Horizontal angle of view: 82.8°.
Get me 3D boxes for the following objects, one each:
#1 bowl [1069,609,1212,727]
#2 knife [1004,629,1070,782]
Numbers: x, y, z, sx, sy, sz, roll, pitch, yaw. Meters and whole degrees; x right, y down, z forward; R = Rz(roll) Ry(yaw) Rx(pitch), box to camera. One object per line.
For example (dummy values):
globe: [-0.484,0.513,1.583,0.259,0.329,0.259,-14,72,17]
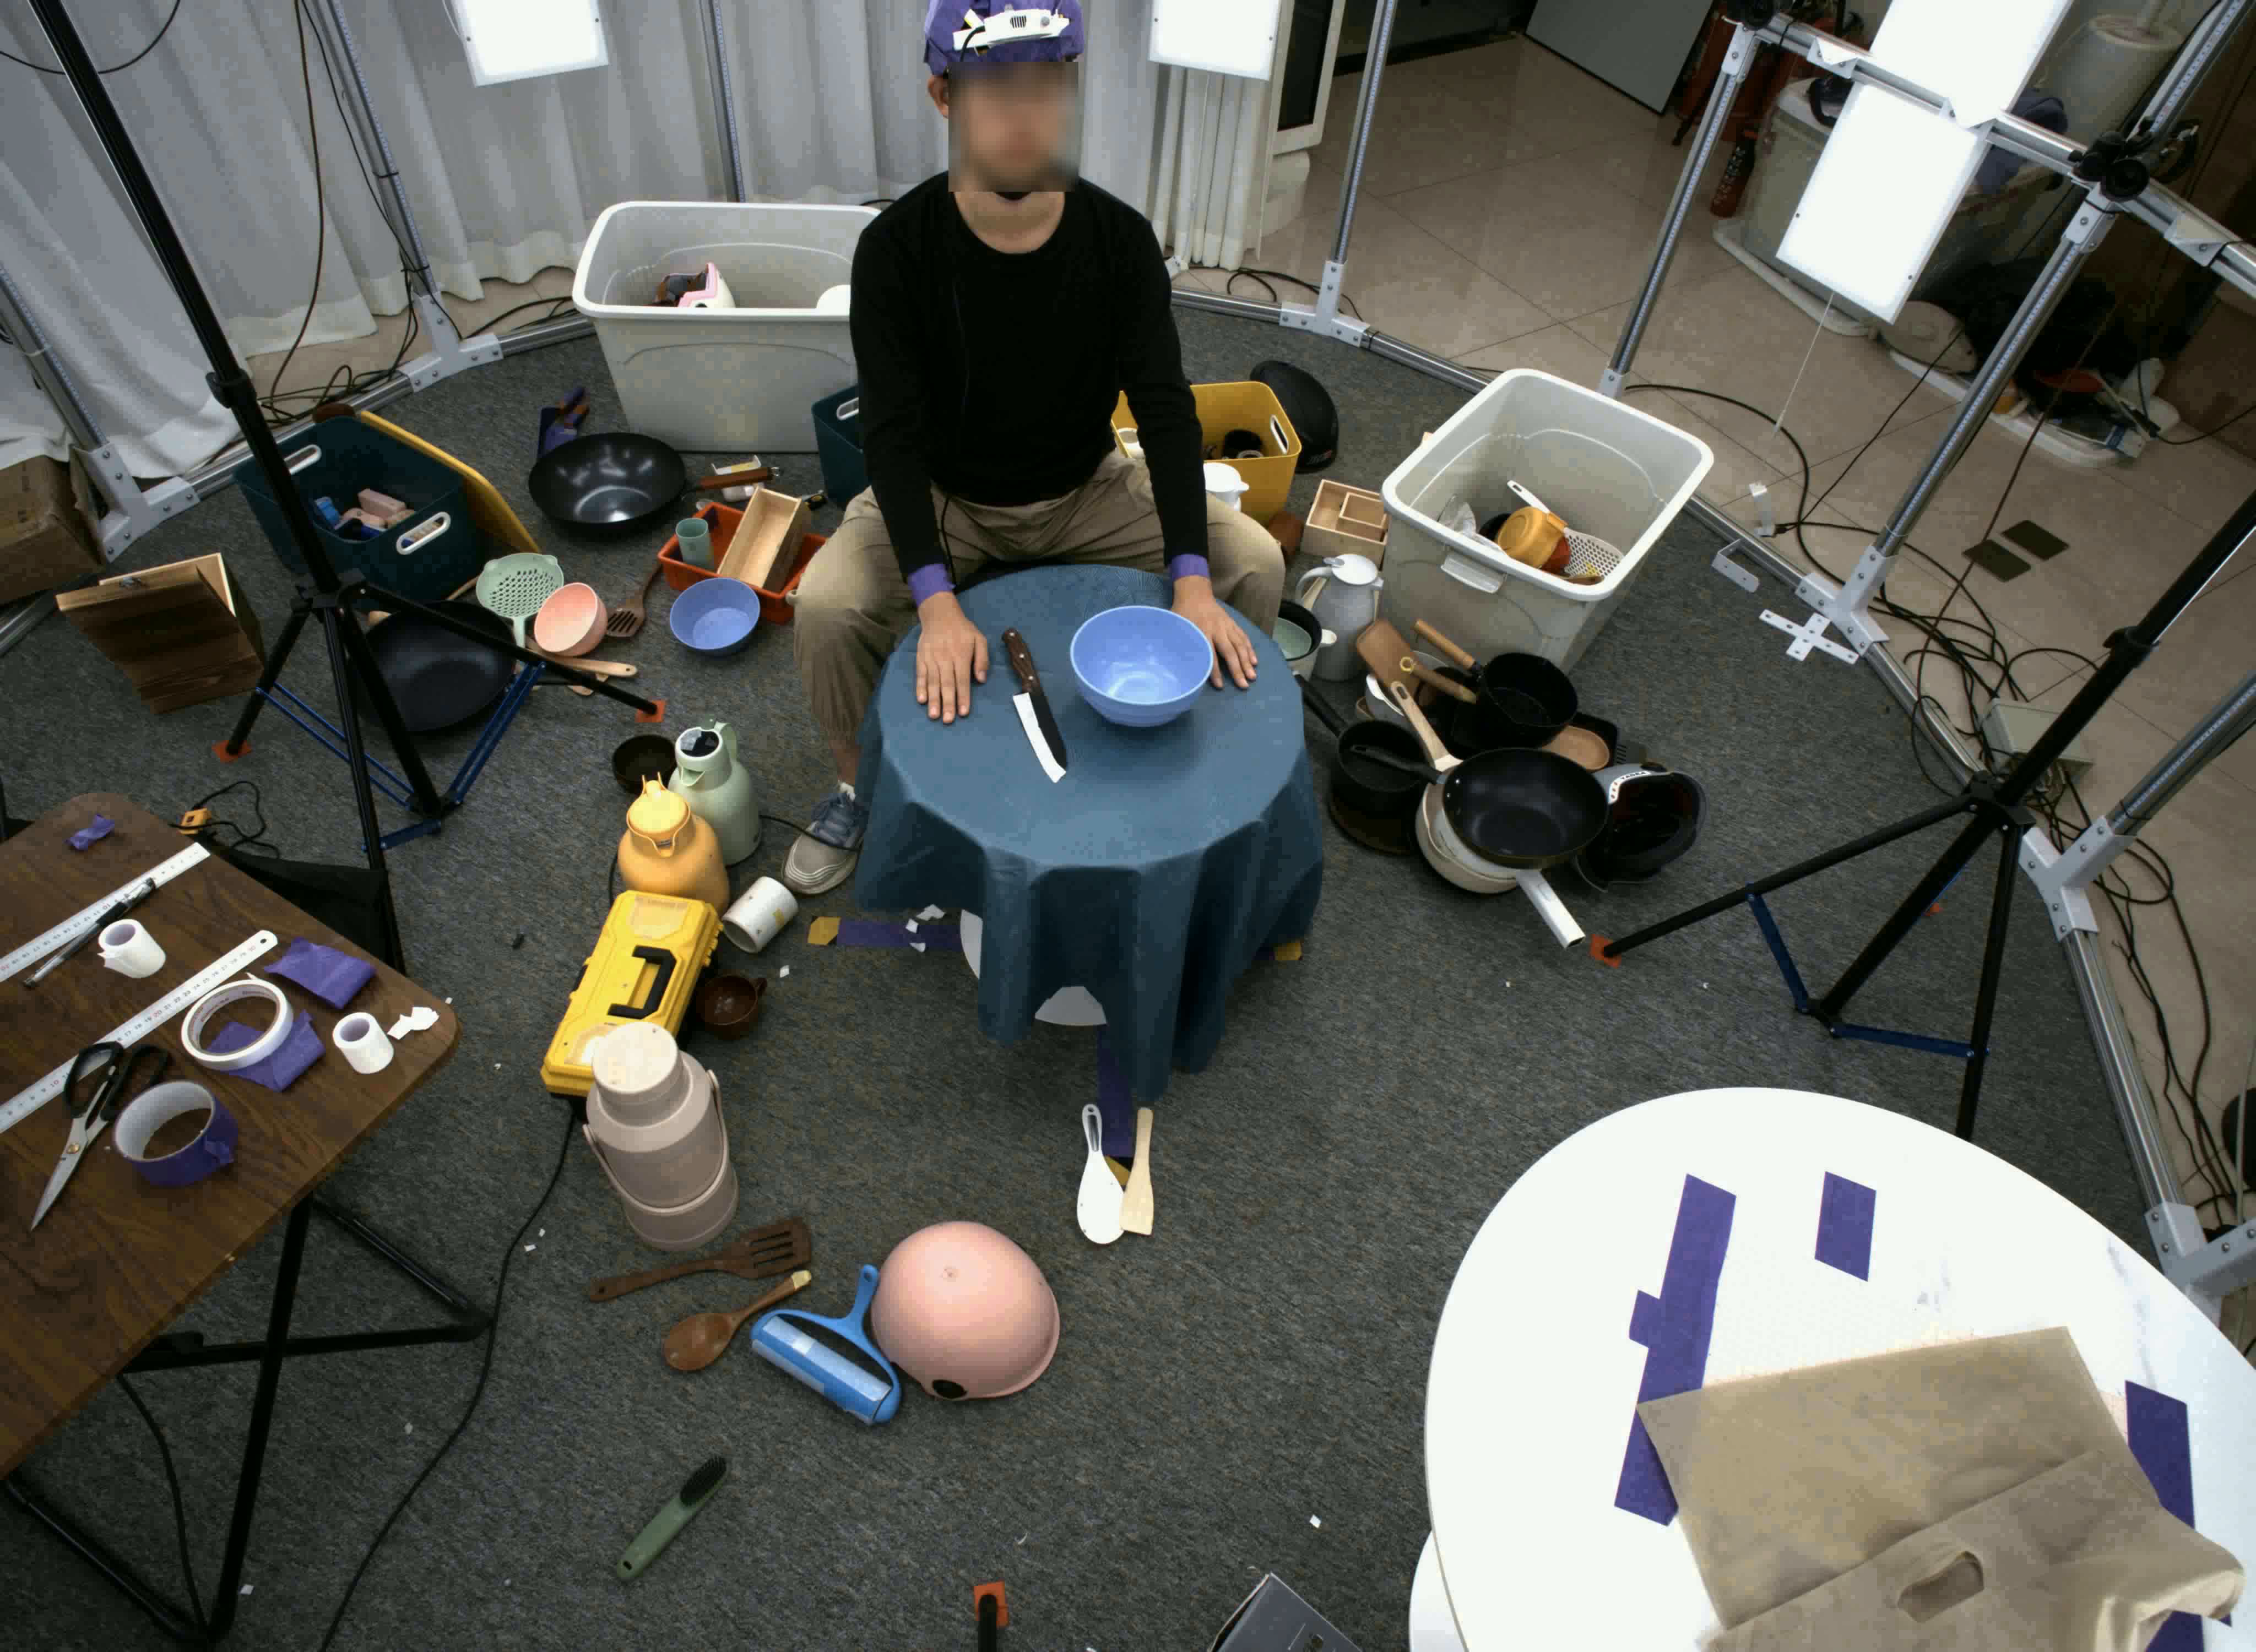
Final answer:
bowl: [0.016,-0.205,1.790,0.196,0.093,0.201,1,47,-1]
knife: [-0.131,-0.172,1.800,0.050,0.019,0.296,-13,53,-8]
